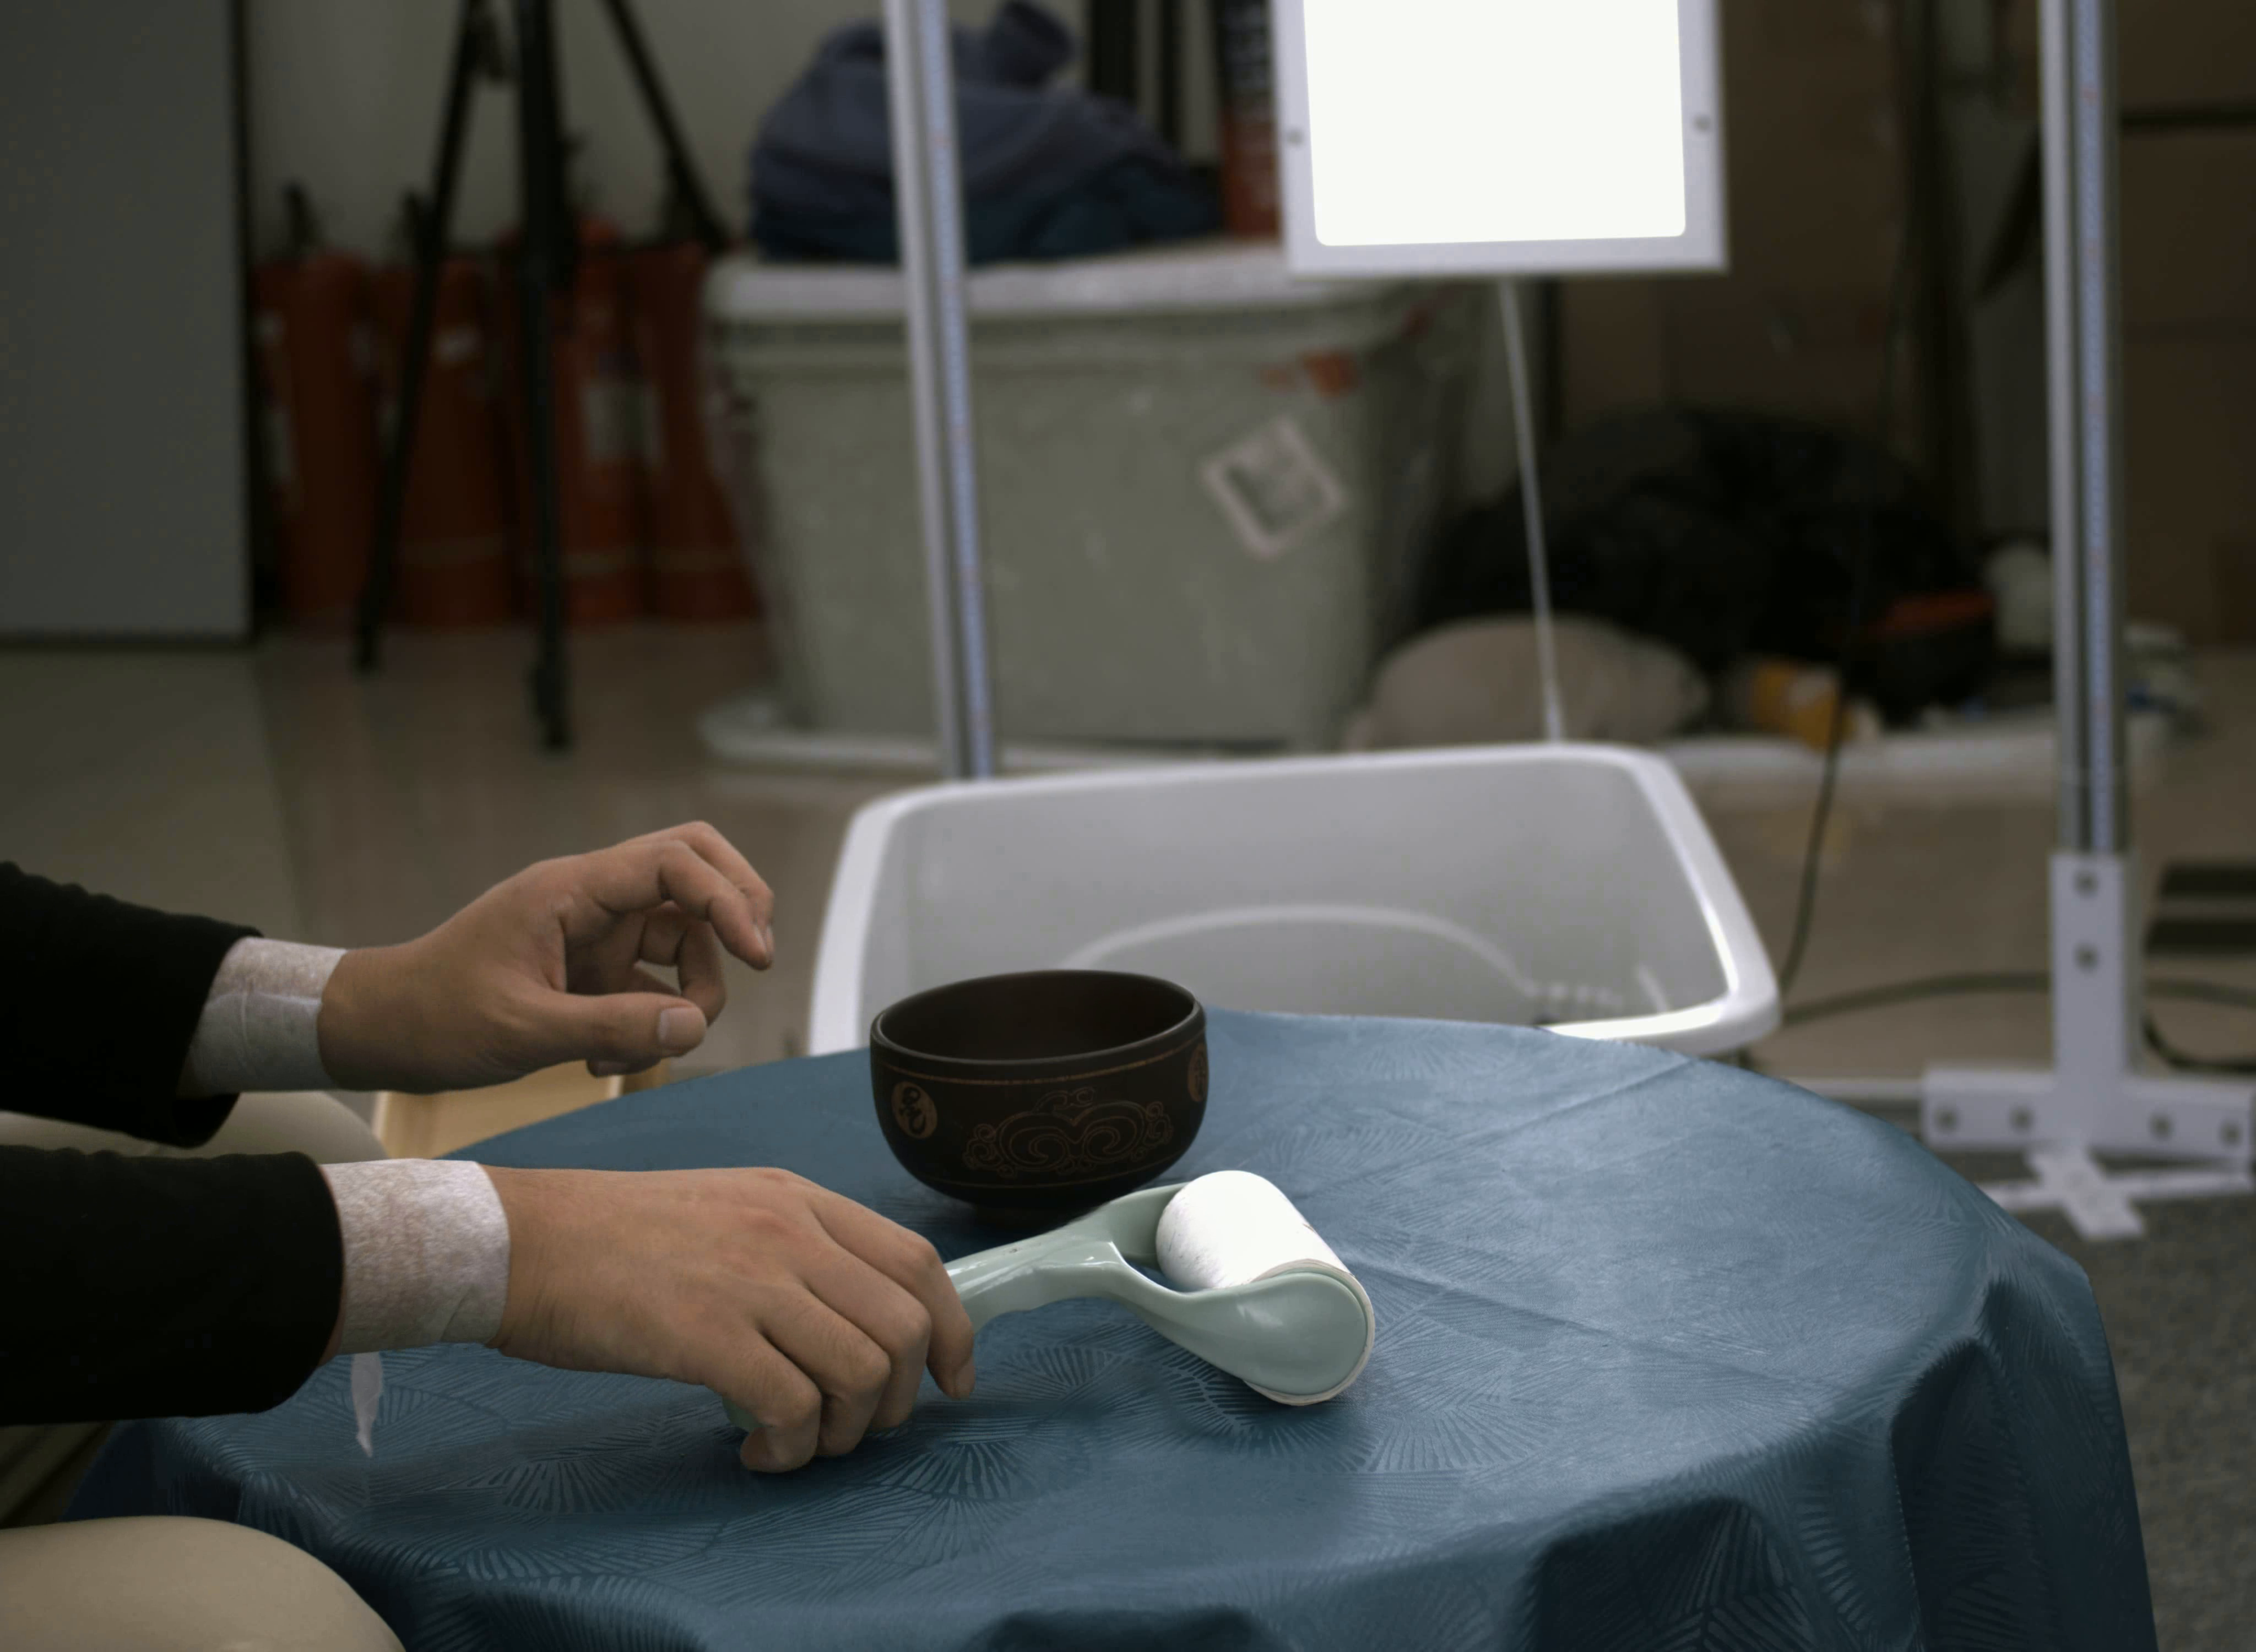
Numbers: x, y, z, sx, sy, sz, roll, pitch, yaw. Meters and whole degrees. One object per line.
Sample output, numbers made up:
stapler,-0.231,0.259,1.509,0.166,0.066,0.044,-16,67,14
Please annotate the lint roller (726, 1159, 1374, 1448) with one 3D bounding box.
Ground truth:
lint roller,-0.030,0.152,1.713,0.195,0.048,0.117,-9,15,-9

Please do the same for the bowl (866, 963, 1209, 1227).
bowl,-0.029,0.096,1.884,0.118,0.070,0.118,-6,15,0
